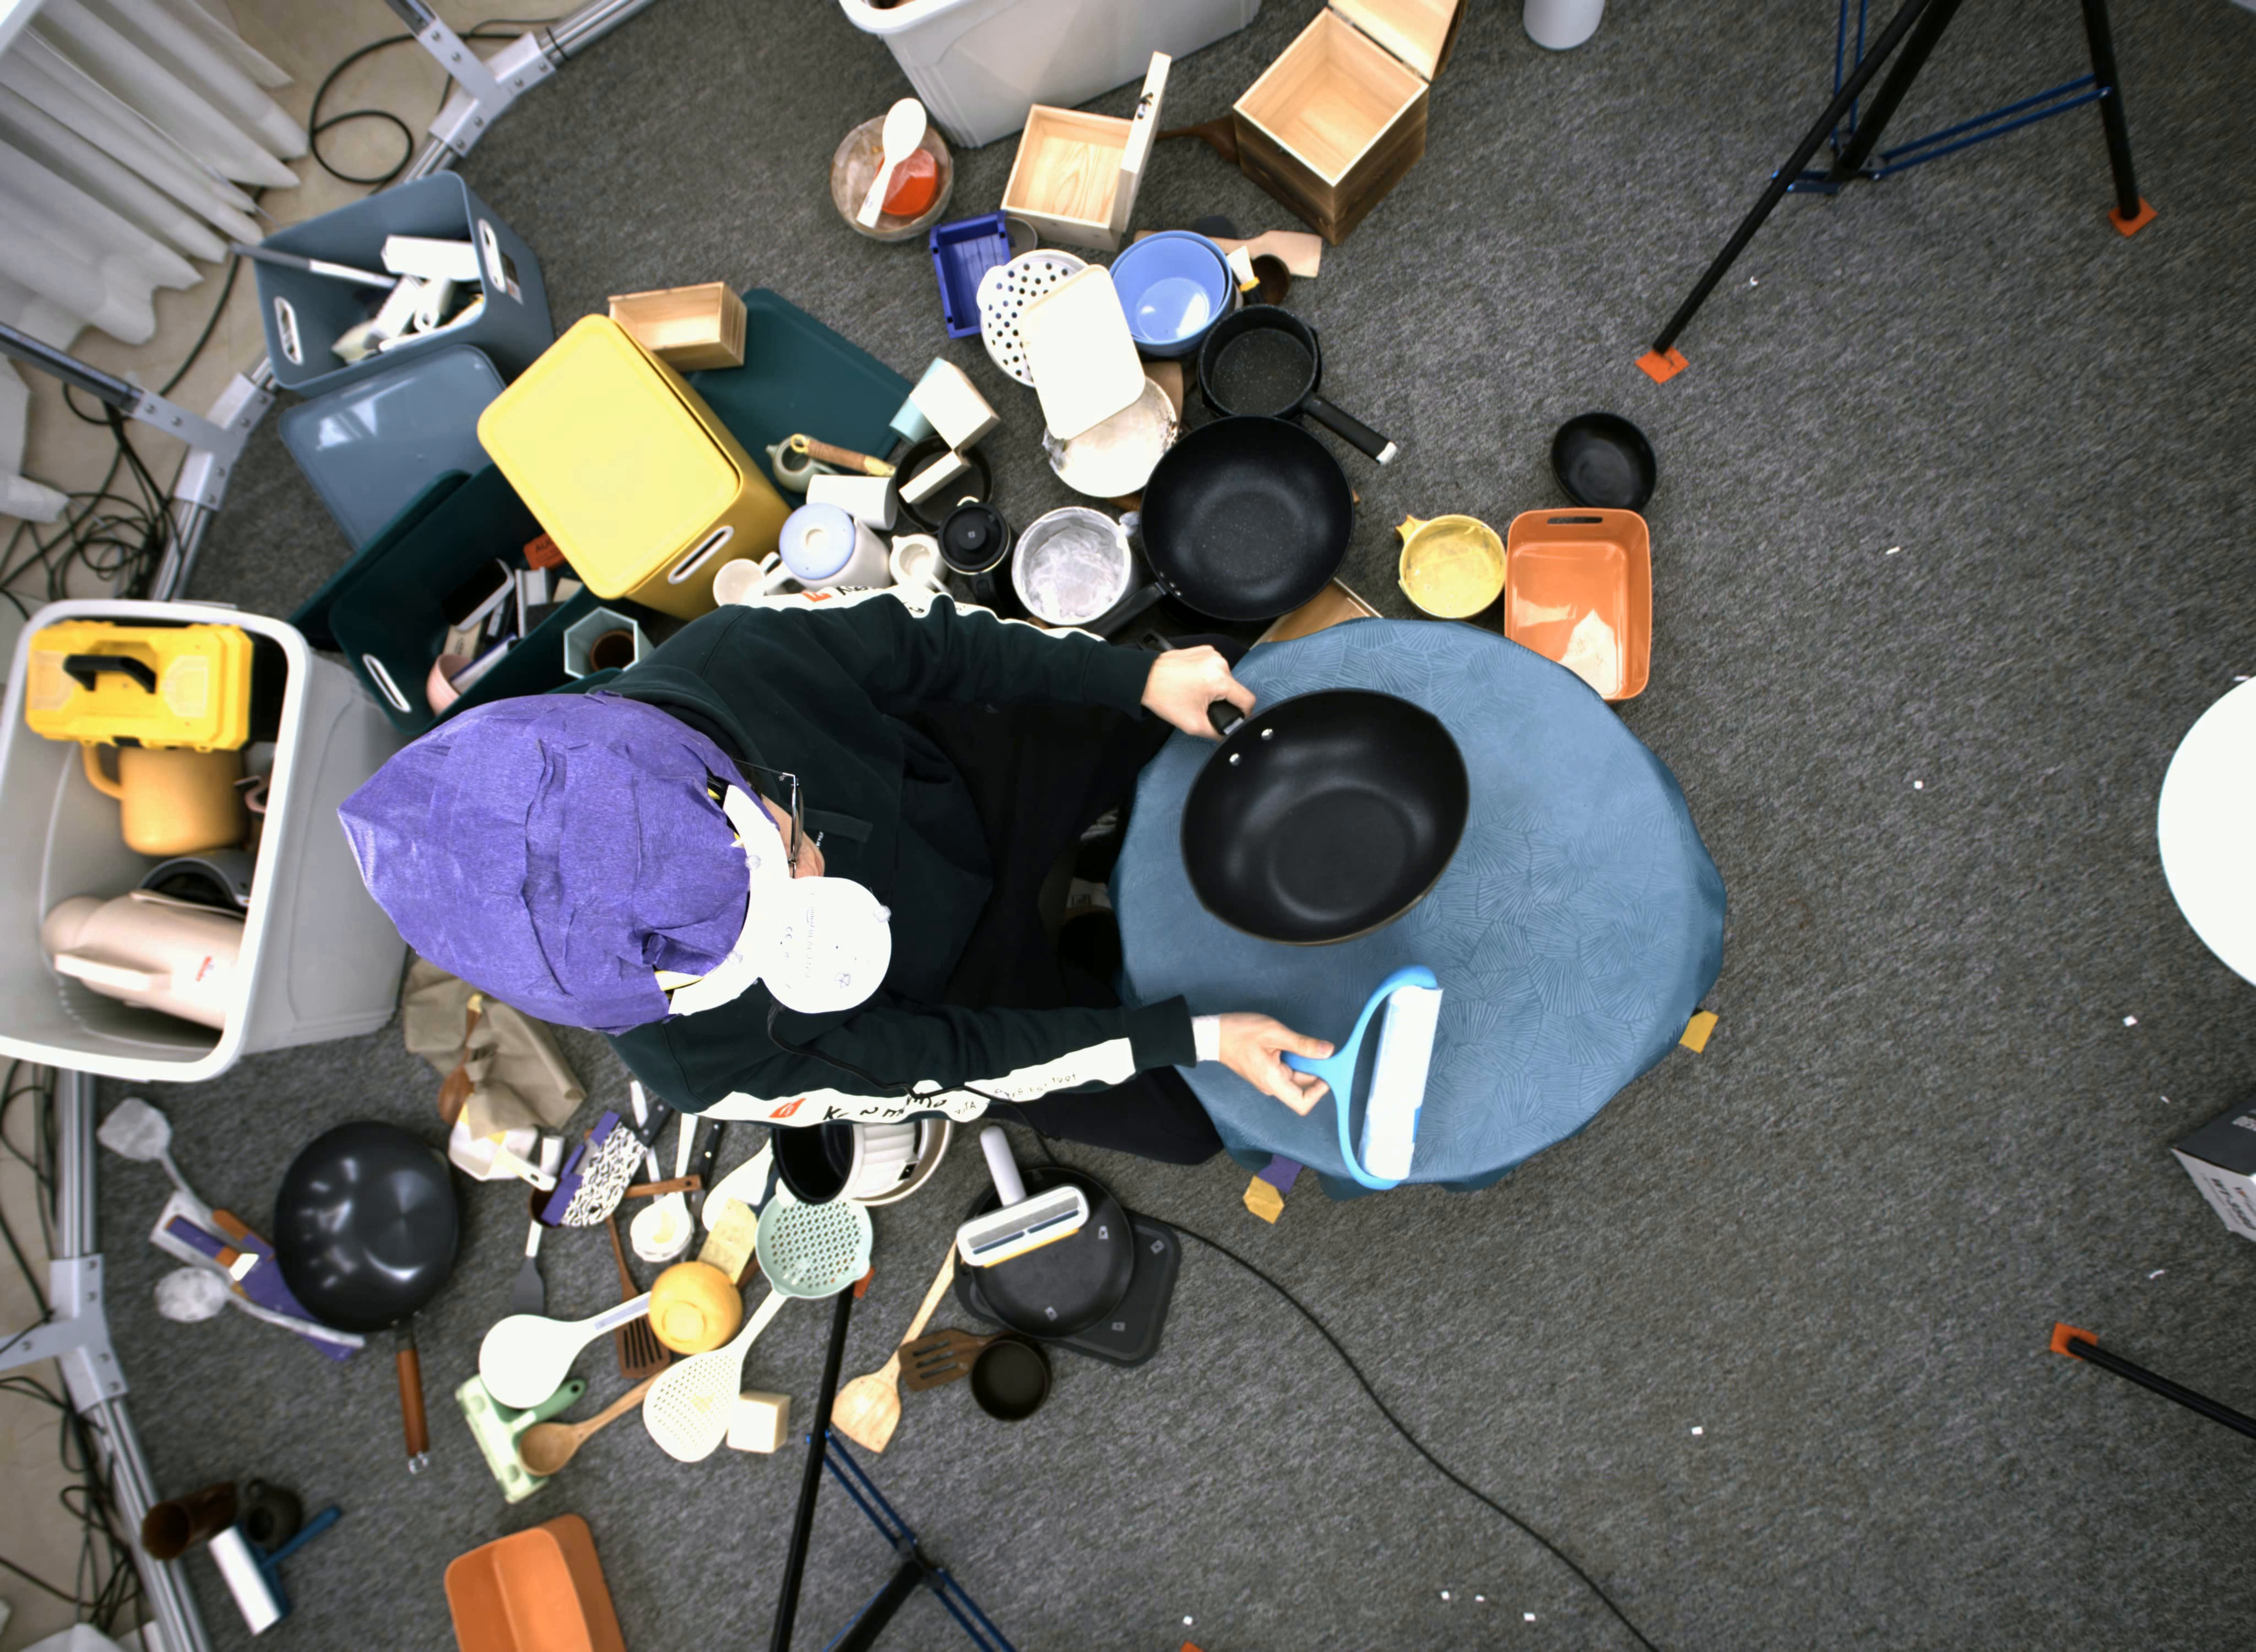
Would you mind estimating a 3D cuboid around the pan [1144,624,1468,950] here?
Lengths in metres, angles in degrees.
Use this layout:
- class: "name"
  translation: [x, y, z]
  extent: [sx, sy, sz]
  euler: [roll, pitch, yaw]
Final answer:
- class: "pan"
  translation: [0.144, -0.050, 1.379]
  extent: [0.288, 0.088, 0.456]
  euler: [-38, 53, 0]

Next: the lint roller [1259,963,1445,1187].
- class: "lint roller"
  translation: [0.217, 0.242, 1.389]
  extent: [0.181, 0.067, 0.230]
  euler: [6, 99, 13]
